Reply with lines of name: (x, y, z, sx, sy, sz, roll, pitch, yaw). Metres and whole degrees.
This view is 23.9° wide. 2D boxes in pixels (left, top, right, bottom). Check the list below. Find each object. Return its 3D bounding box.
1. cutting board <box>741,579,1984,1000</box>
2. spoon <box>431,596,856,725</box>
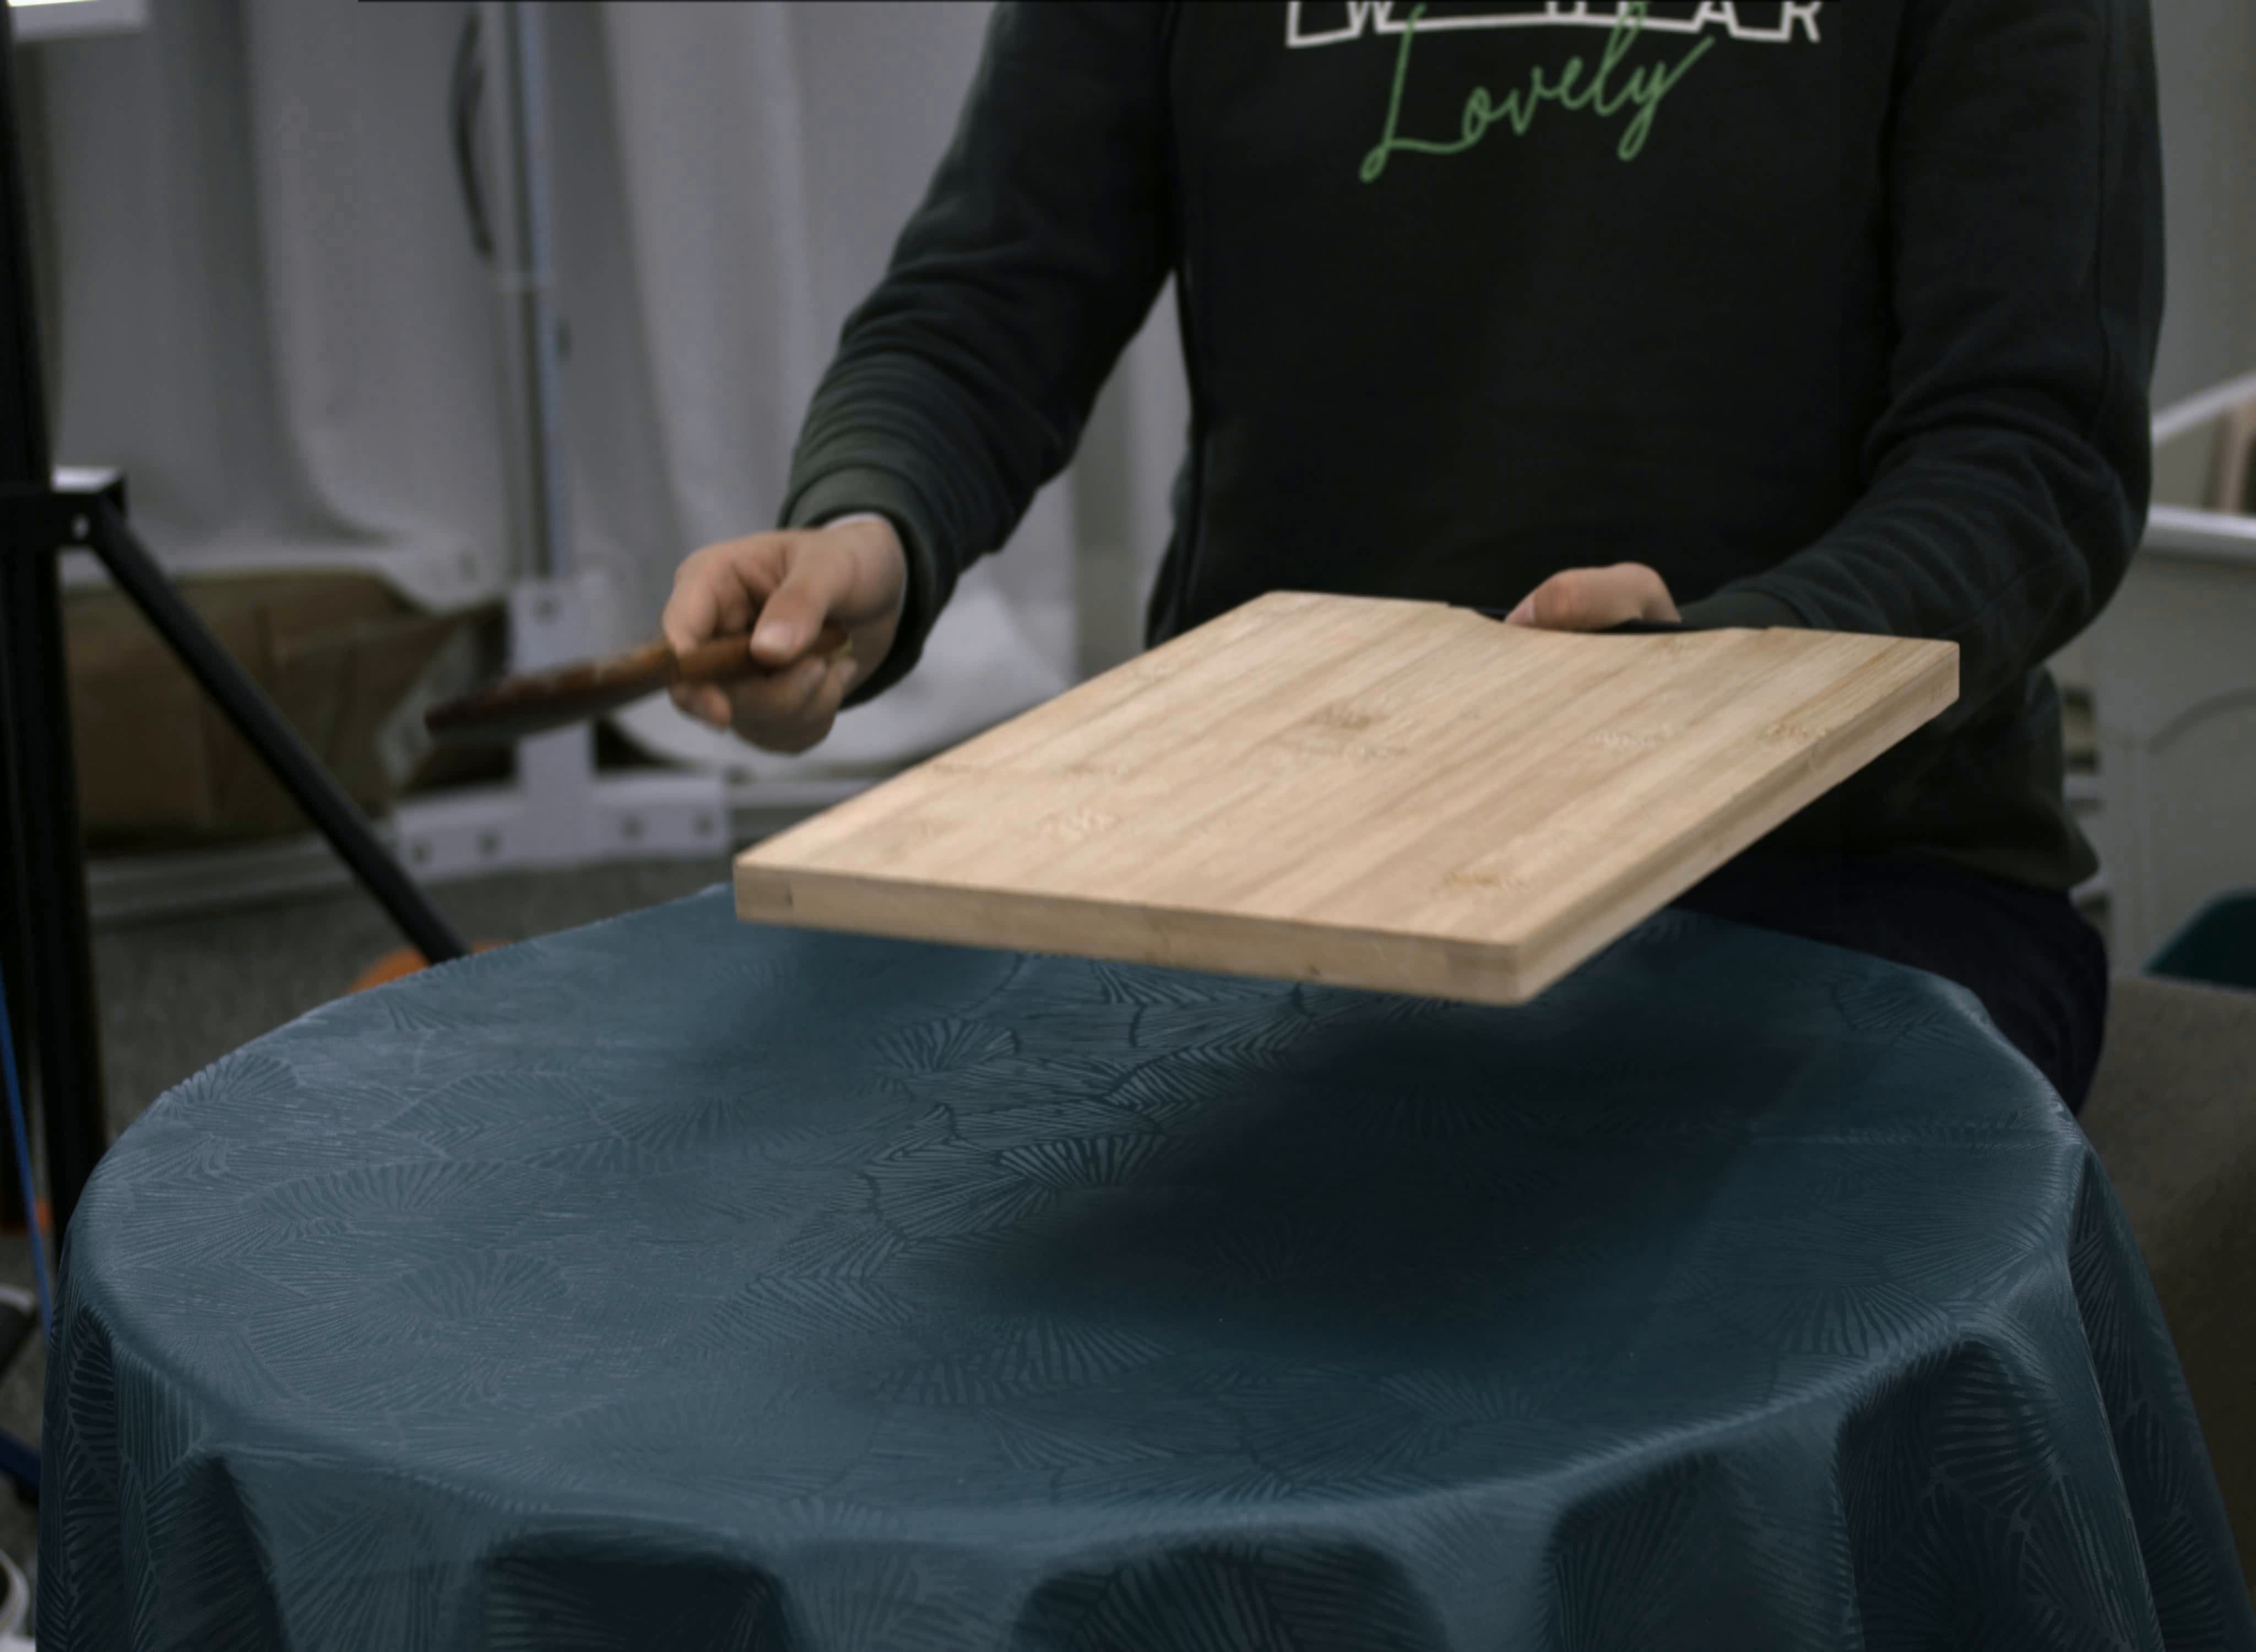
cutting board: (0.077, -0.018, 1.563, 0.255, 0.023, 0.343, 6, 18, 28)
spoon: (-0.145, -0.054, 1.687, 0.076, 0.017, 0.212, -21, -2, 28)
